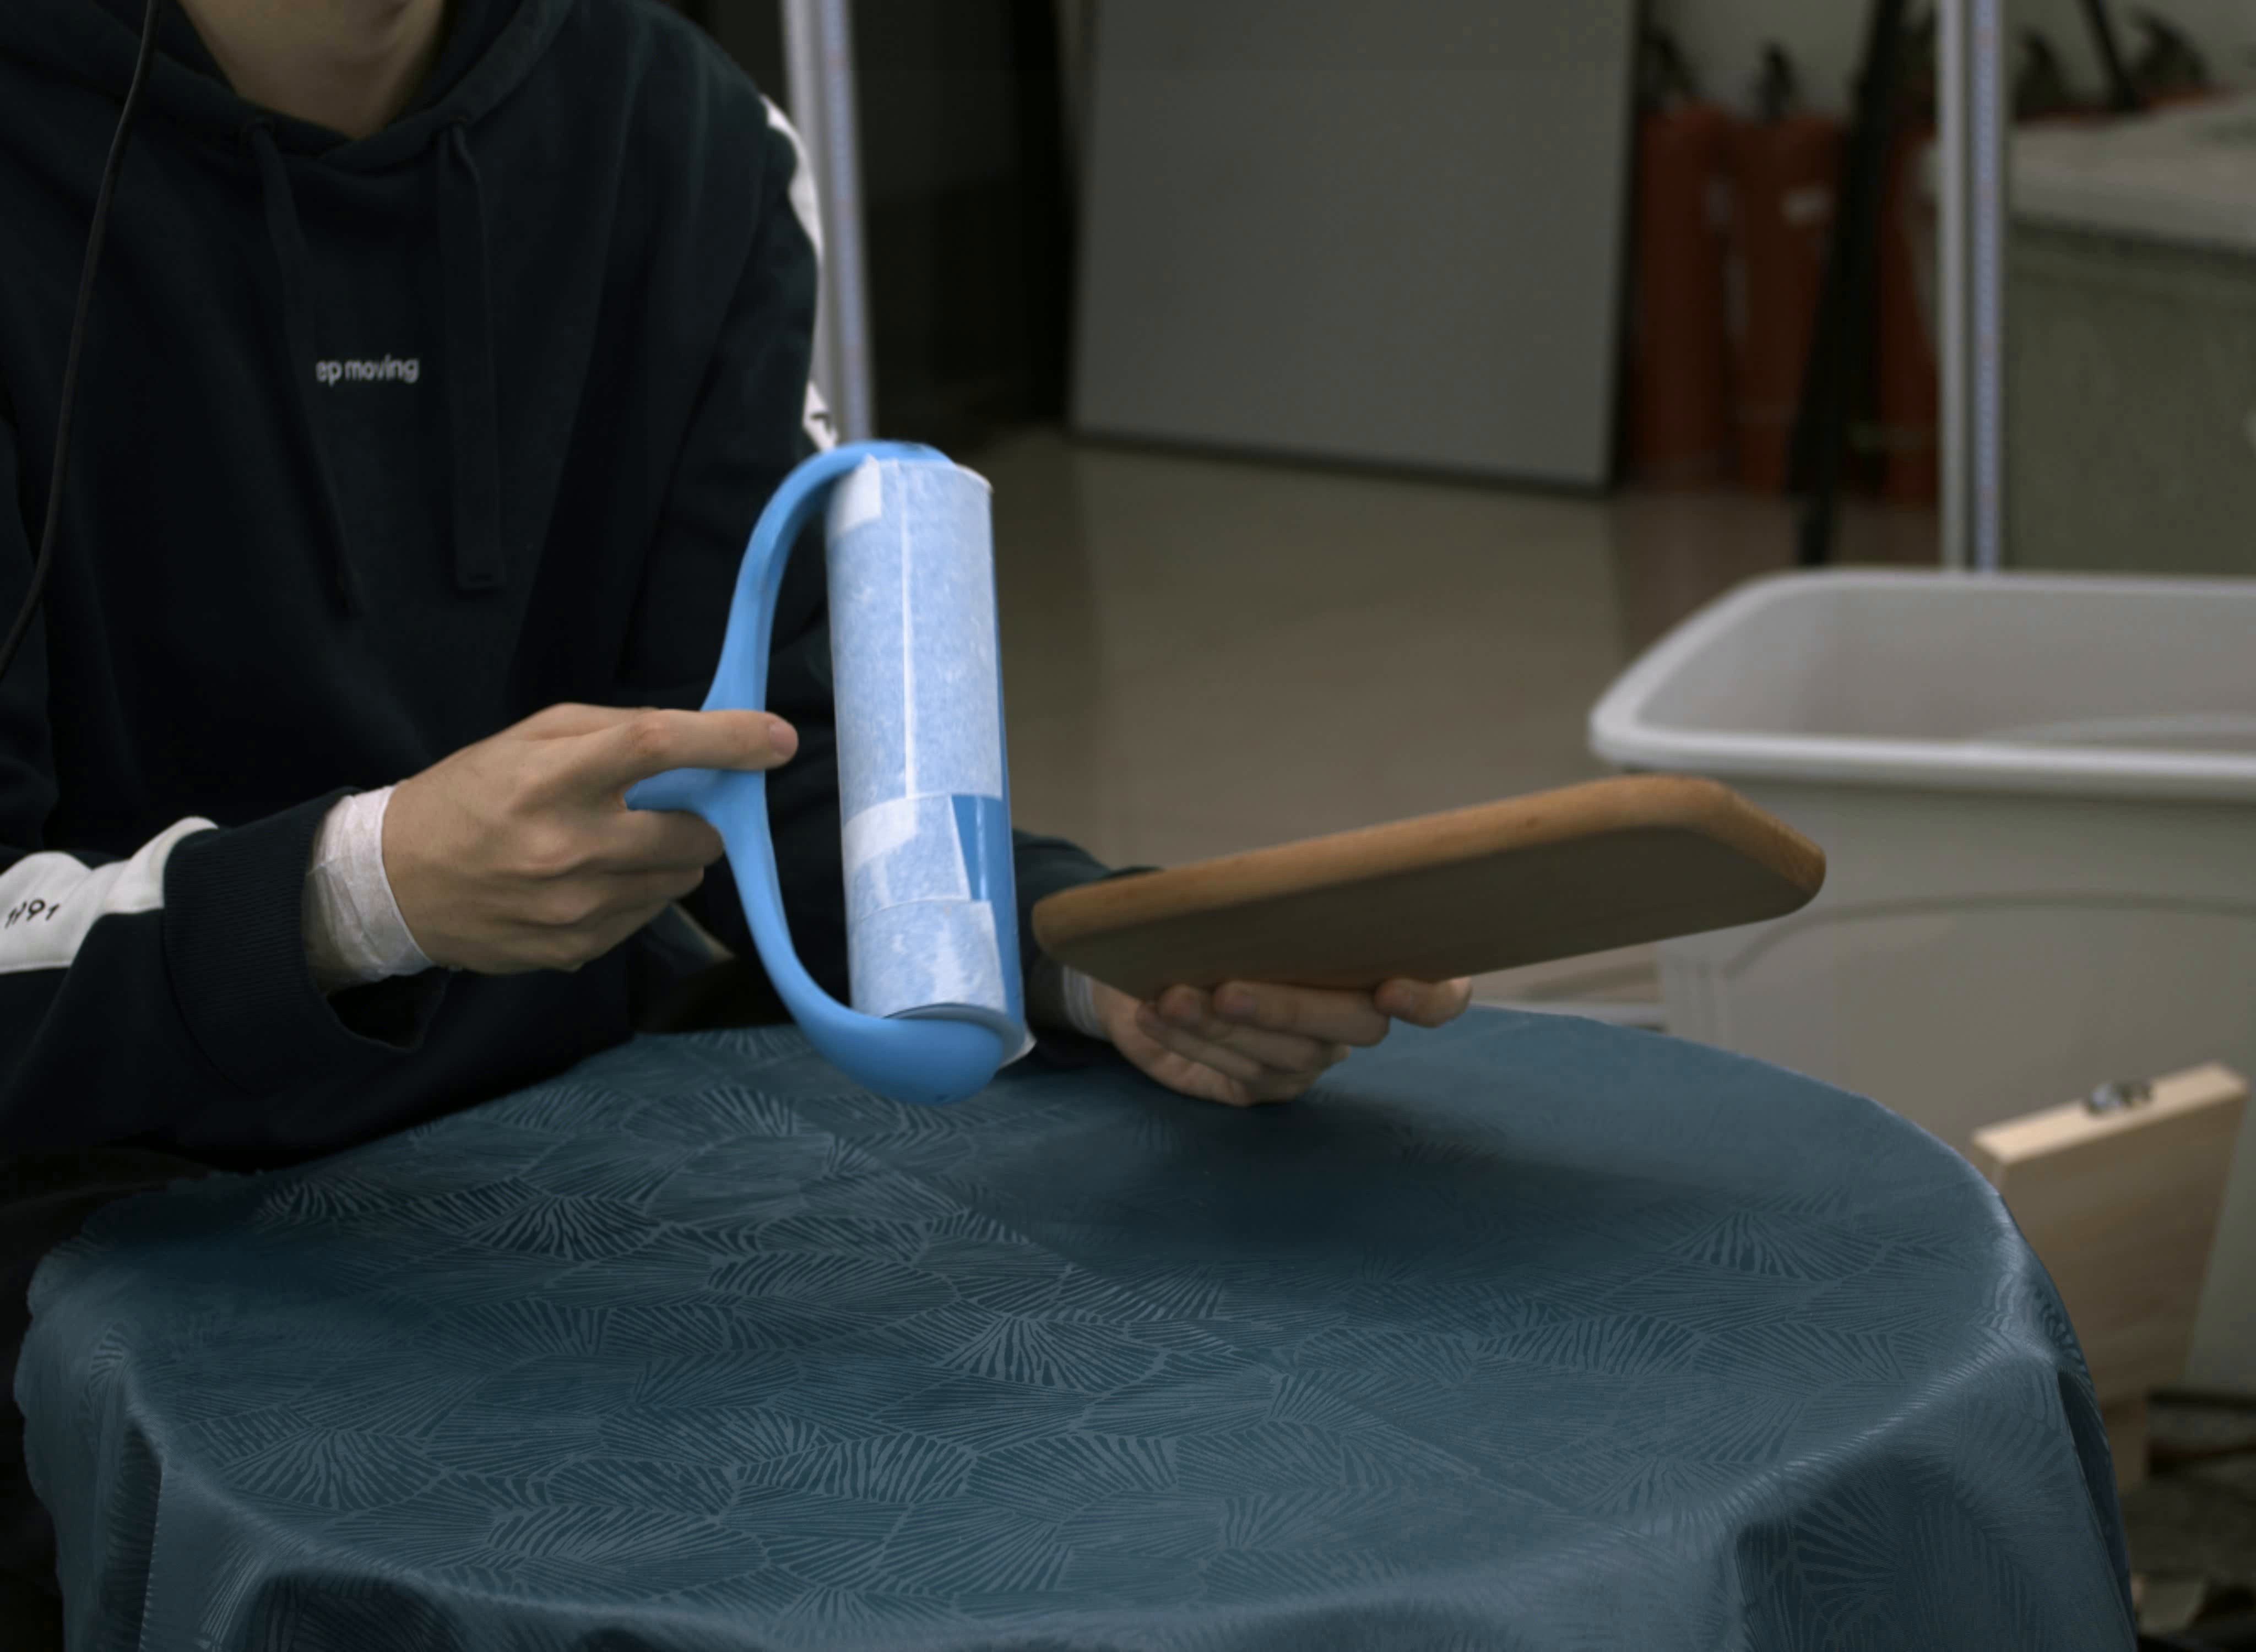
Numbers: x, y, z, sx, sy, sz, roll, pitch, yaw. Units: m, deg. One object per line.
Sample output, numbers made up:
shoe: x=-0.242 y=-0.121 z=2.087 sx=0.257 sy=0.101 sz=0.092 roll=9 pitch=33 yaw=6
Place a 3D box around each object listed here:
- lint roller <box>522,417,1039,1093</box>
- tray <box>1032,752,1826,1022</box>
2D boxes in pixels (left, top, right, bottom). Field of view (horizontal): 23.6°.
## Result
lint roller: x=-0.119 y=-0.010 z=1.697 sx=0.179 sy=0.232 sz=0.067 roll=-16 pitch=-27 yaw=14
tray: x=0.096 y=0.023 z=1.743 sx=0.252 sy=0.023 sz=0.128 roll=-14 pitch=-27 yaw=30
